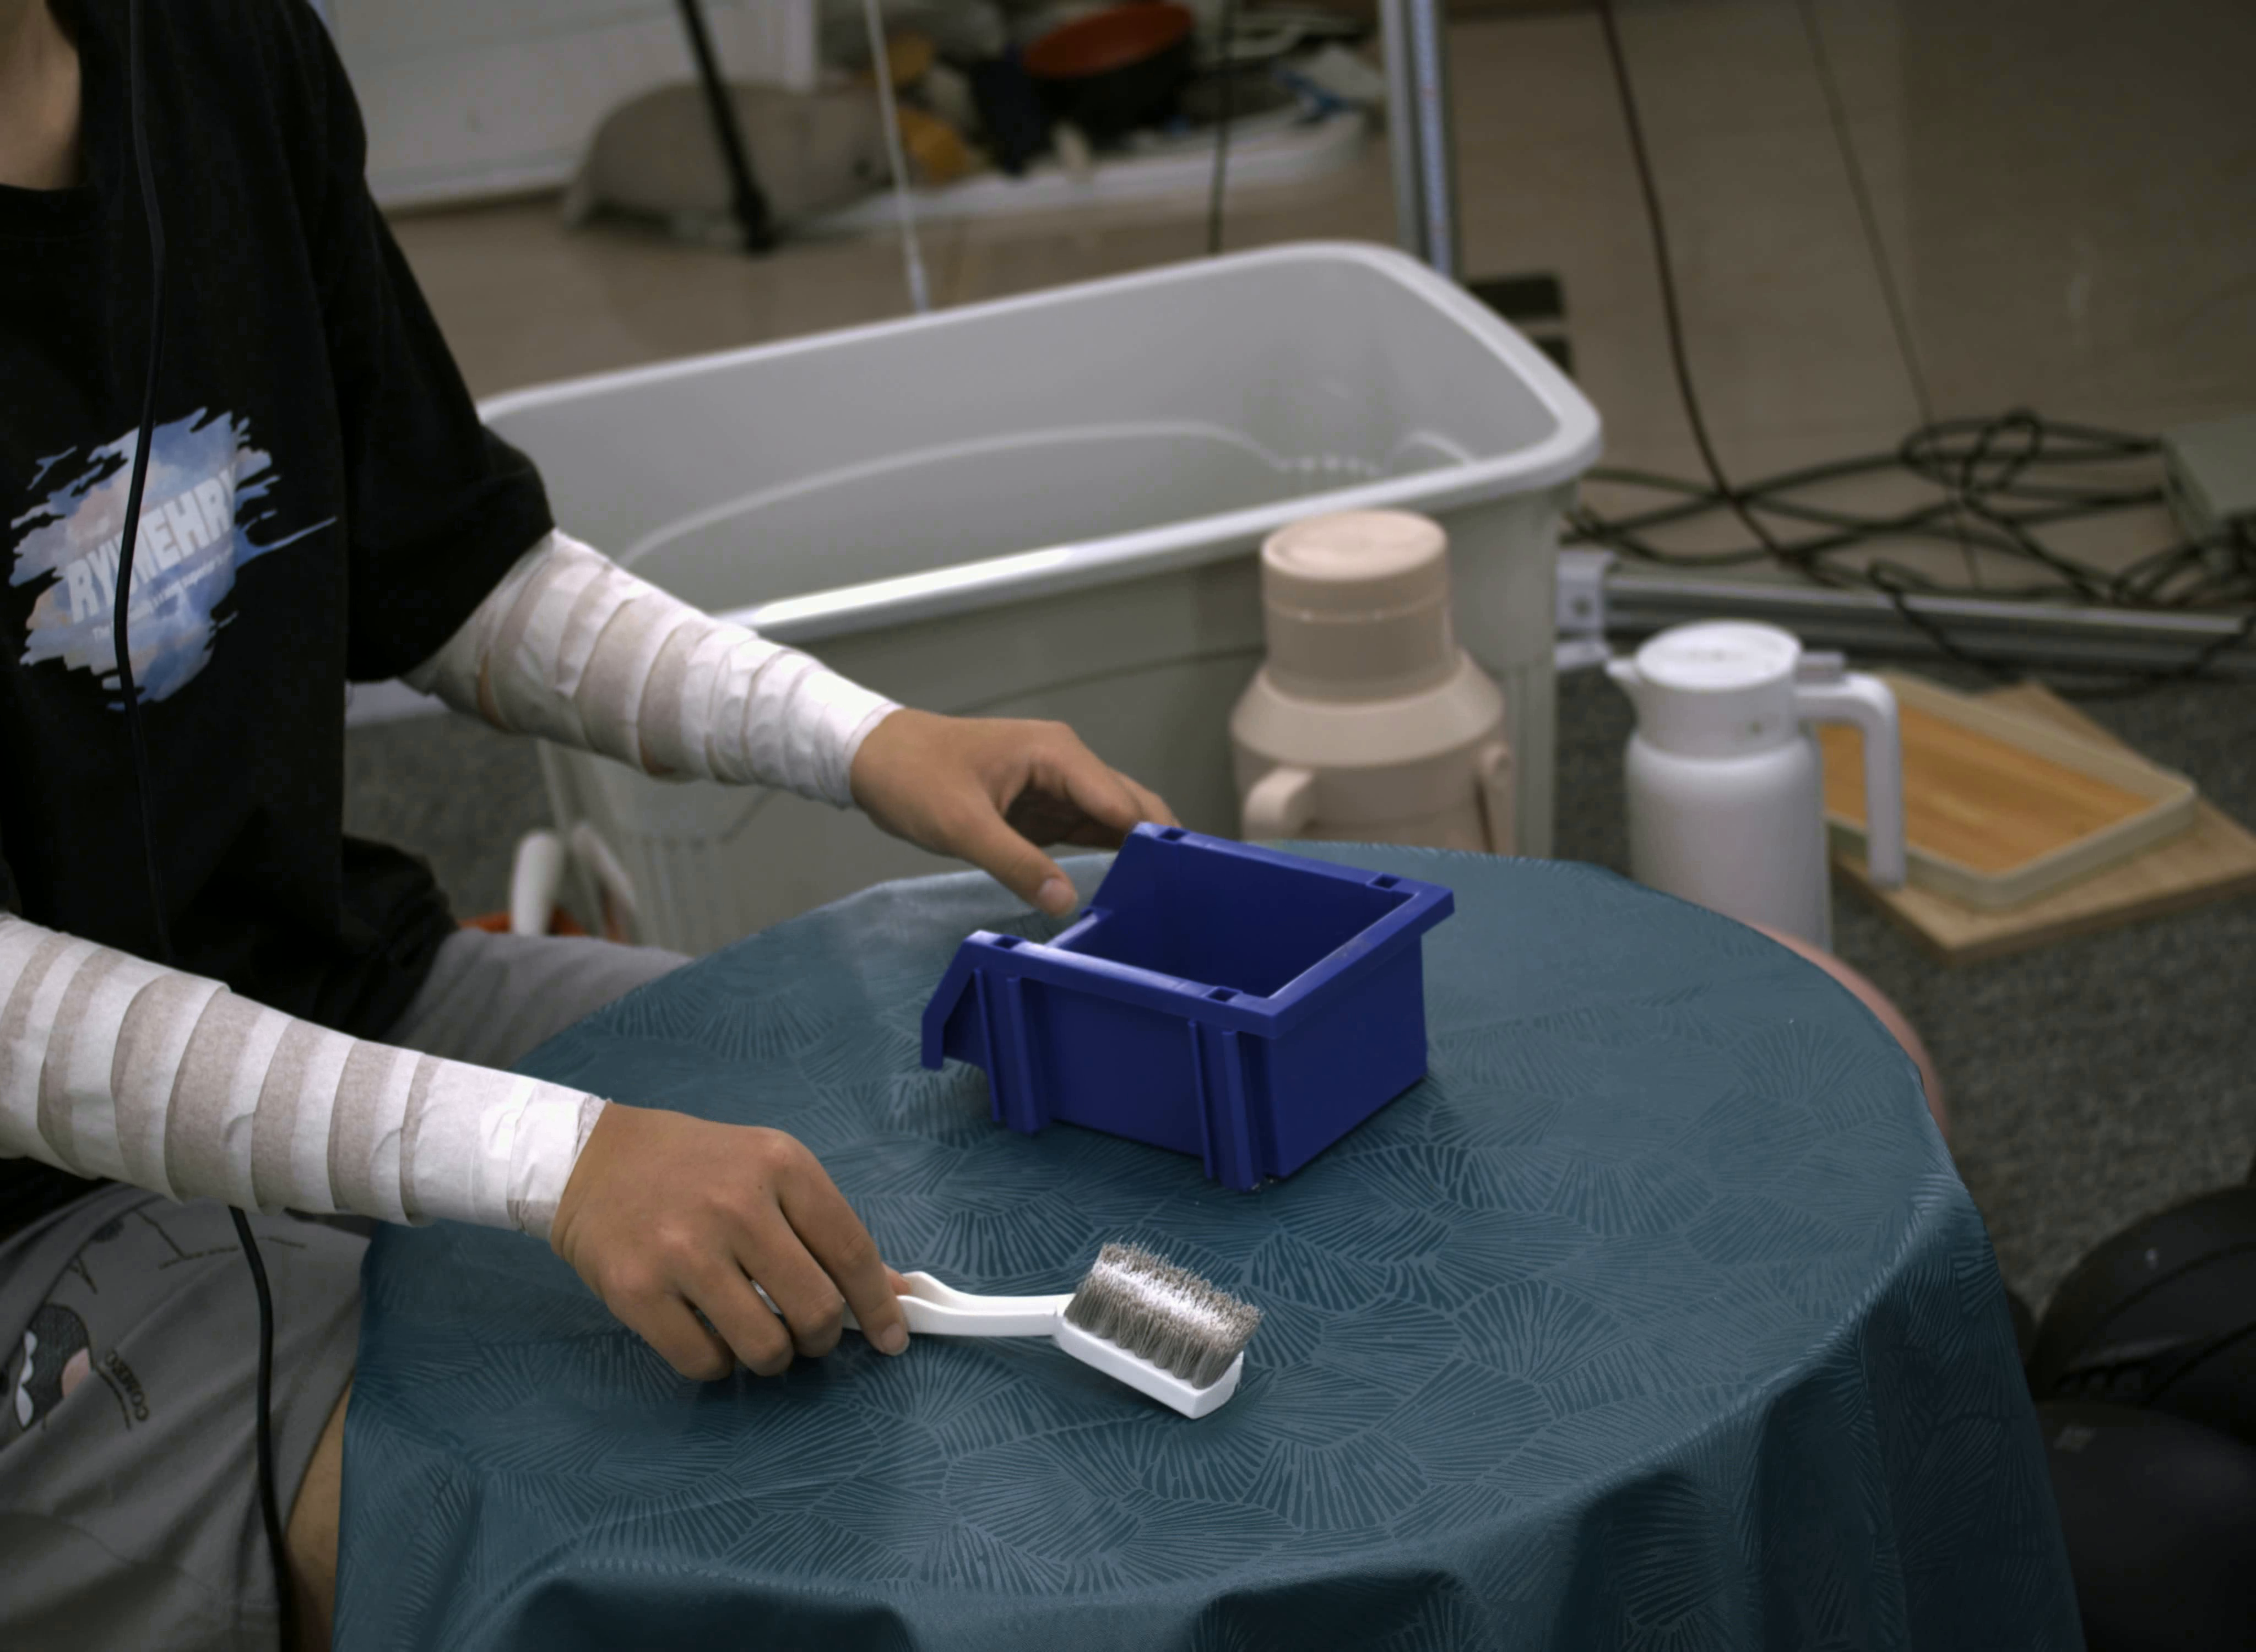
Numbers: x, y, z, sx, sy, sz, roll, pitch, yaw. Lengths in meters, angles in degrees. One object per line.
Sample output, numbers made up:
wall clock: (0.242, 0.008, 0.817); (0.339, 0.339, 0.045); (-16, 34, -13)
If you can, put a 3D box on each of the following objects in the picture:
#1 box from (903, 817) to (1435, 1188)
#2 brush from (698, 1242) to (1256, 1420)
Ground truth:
box: (0.014, 0.066, 2.204); (0.178, 0.083, 0.123); (15, 33, 36)
brush: (-0.060, 0.164, 2.048); (0.242, 0.051, 0.034); (12, 32, 33)
